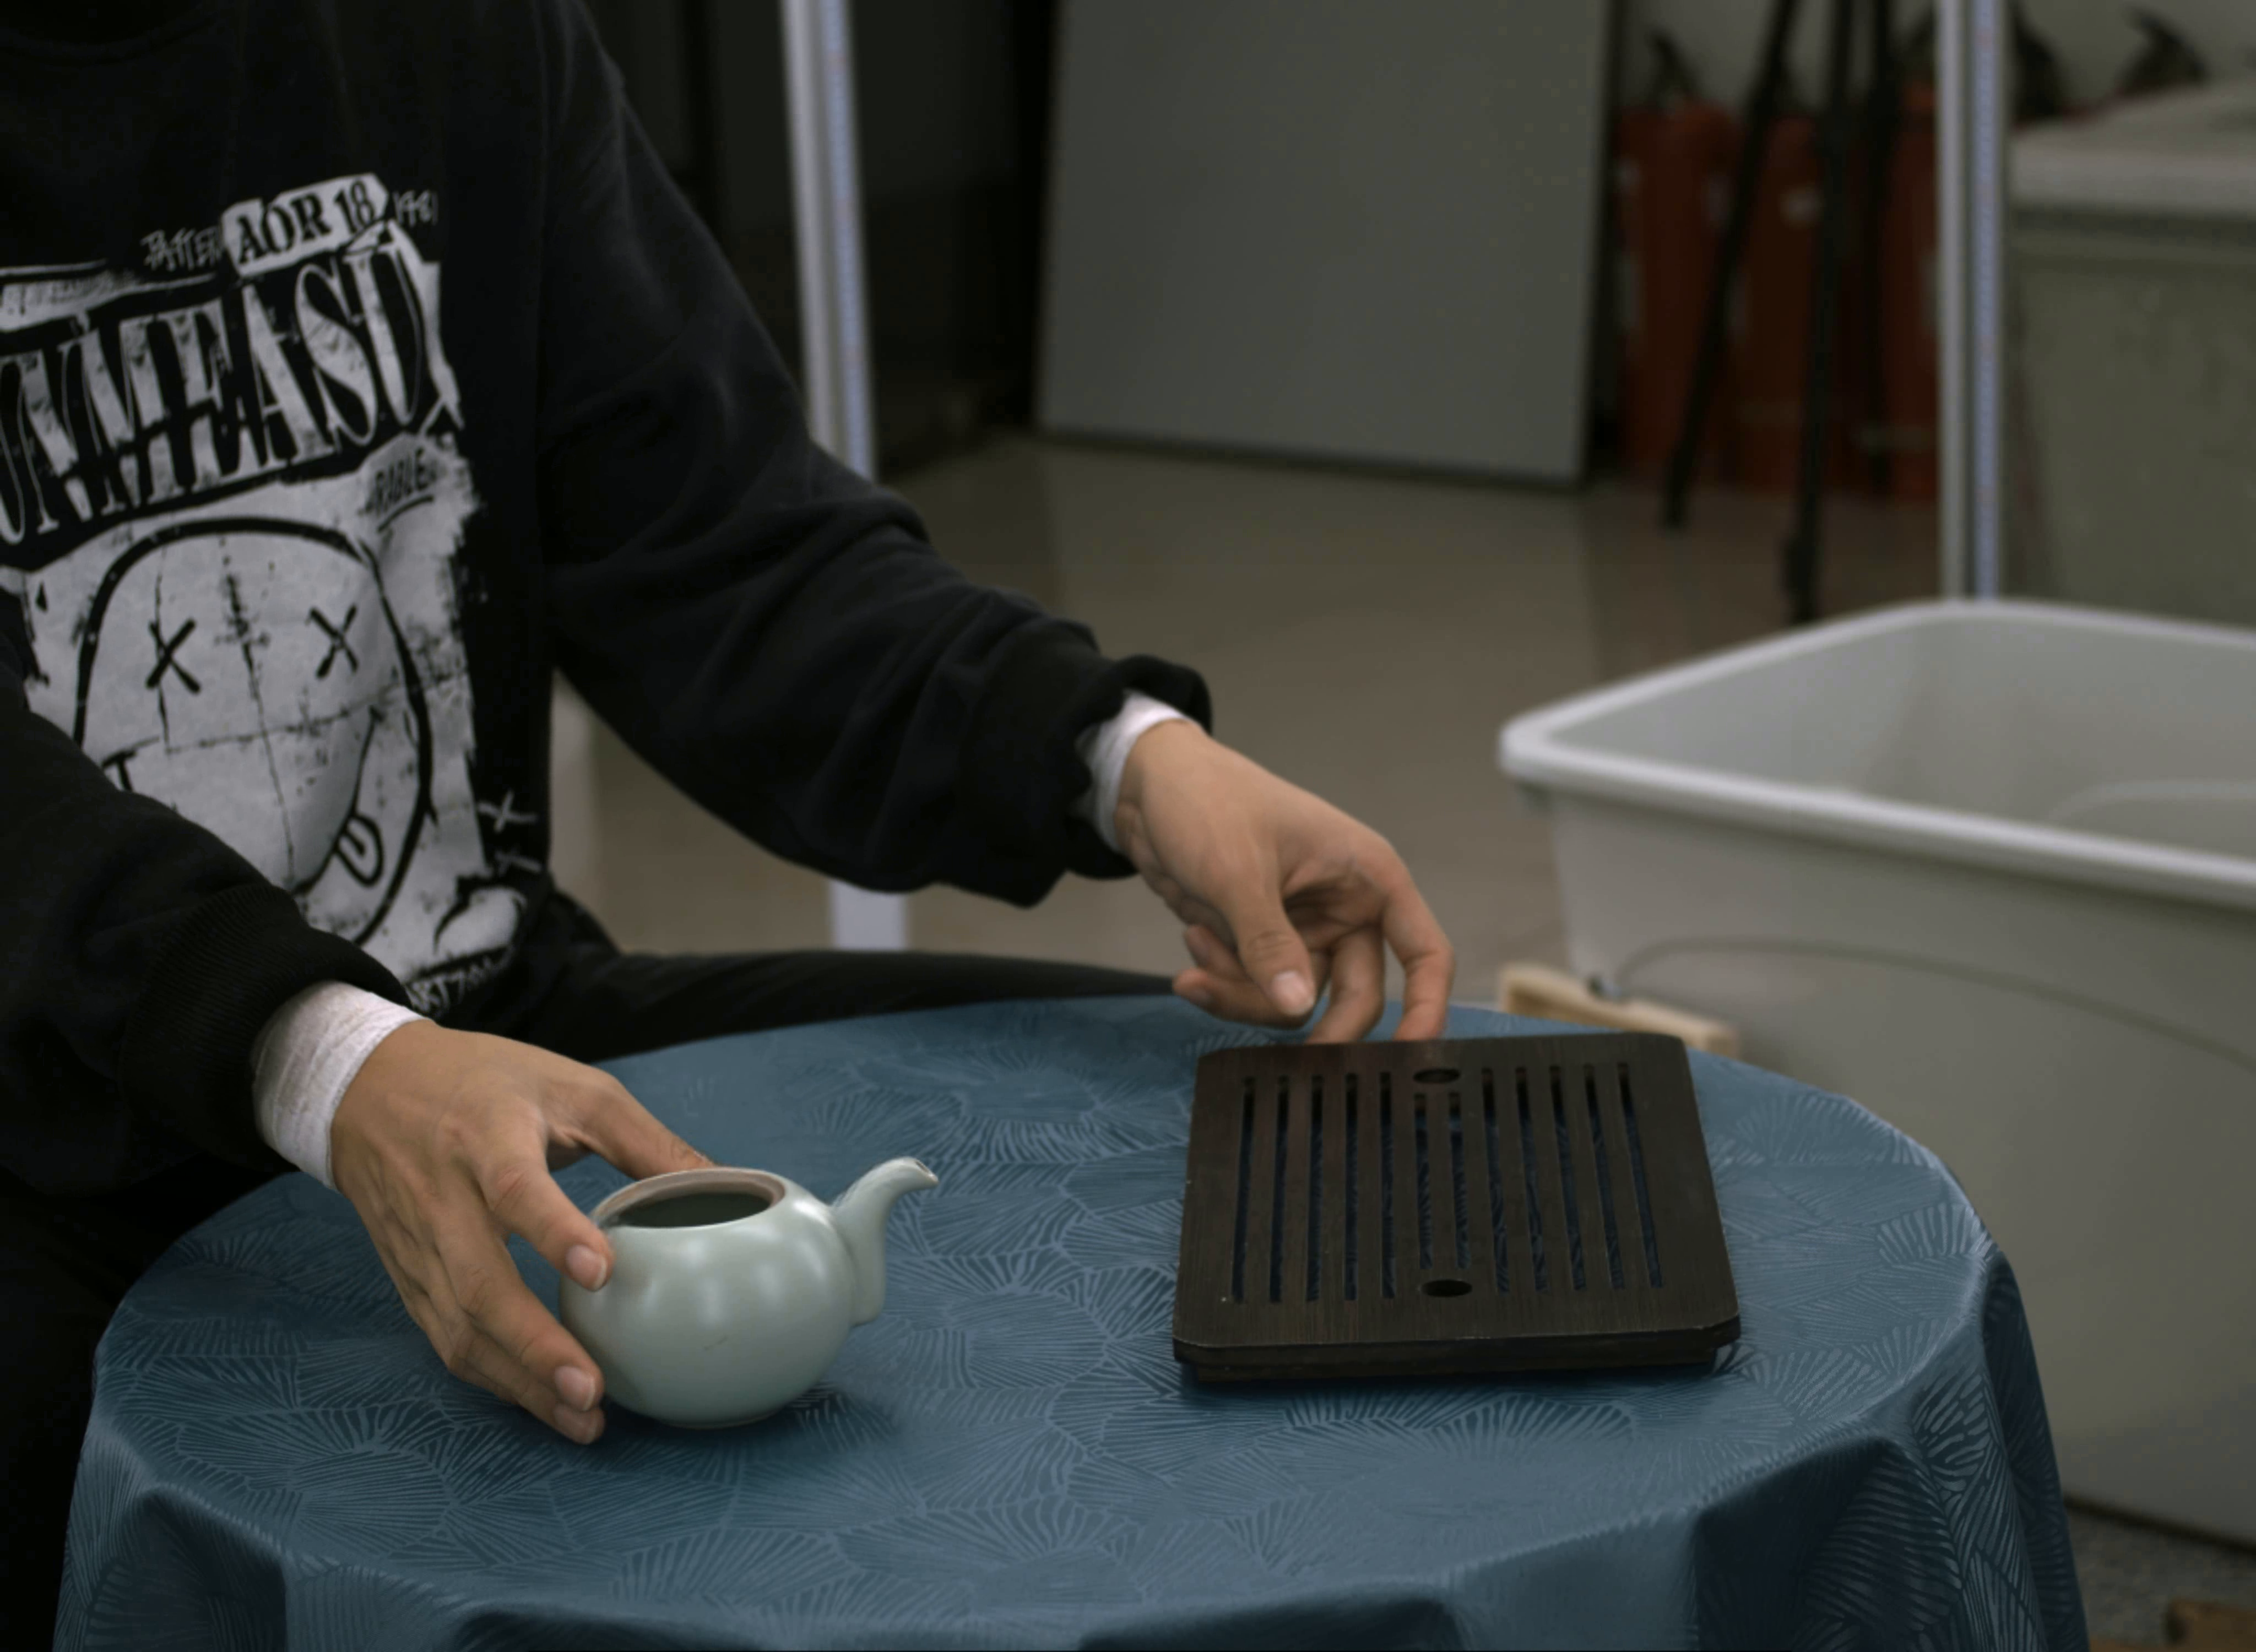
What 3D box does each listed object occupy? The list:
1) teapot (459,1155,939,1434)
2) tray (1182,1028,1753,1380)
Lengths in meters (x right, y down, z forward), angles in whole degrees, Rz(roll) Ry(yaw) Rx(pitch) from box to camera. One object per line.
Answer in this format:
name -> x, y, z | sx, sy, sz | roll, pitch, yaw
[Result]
teapot -> -0.125, 0.138, 1.594 | 0.142, 0.075, 0.088 | -3, 14, -3
tray -> 0.106, 0.118, 1.716 | 0.168, 0.019, 0.306 | -3, 14, 4
